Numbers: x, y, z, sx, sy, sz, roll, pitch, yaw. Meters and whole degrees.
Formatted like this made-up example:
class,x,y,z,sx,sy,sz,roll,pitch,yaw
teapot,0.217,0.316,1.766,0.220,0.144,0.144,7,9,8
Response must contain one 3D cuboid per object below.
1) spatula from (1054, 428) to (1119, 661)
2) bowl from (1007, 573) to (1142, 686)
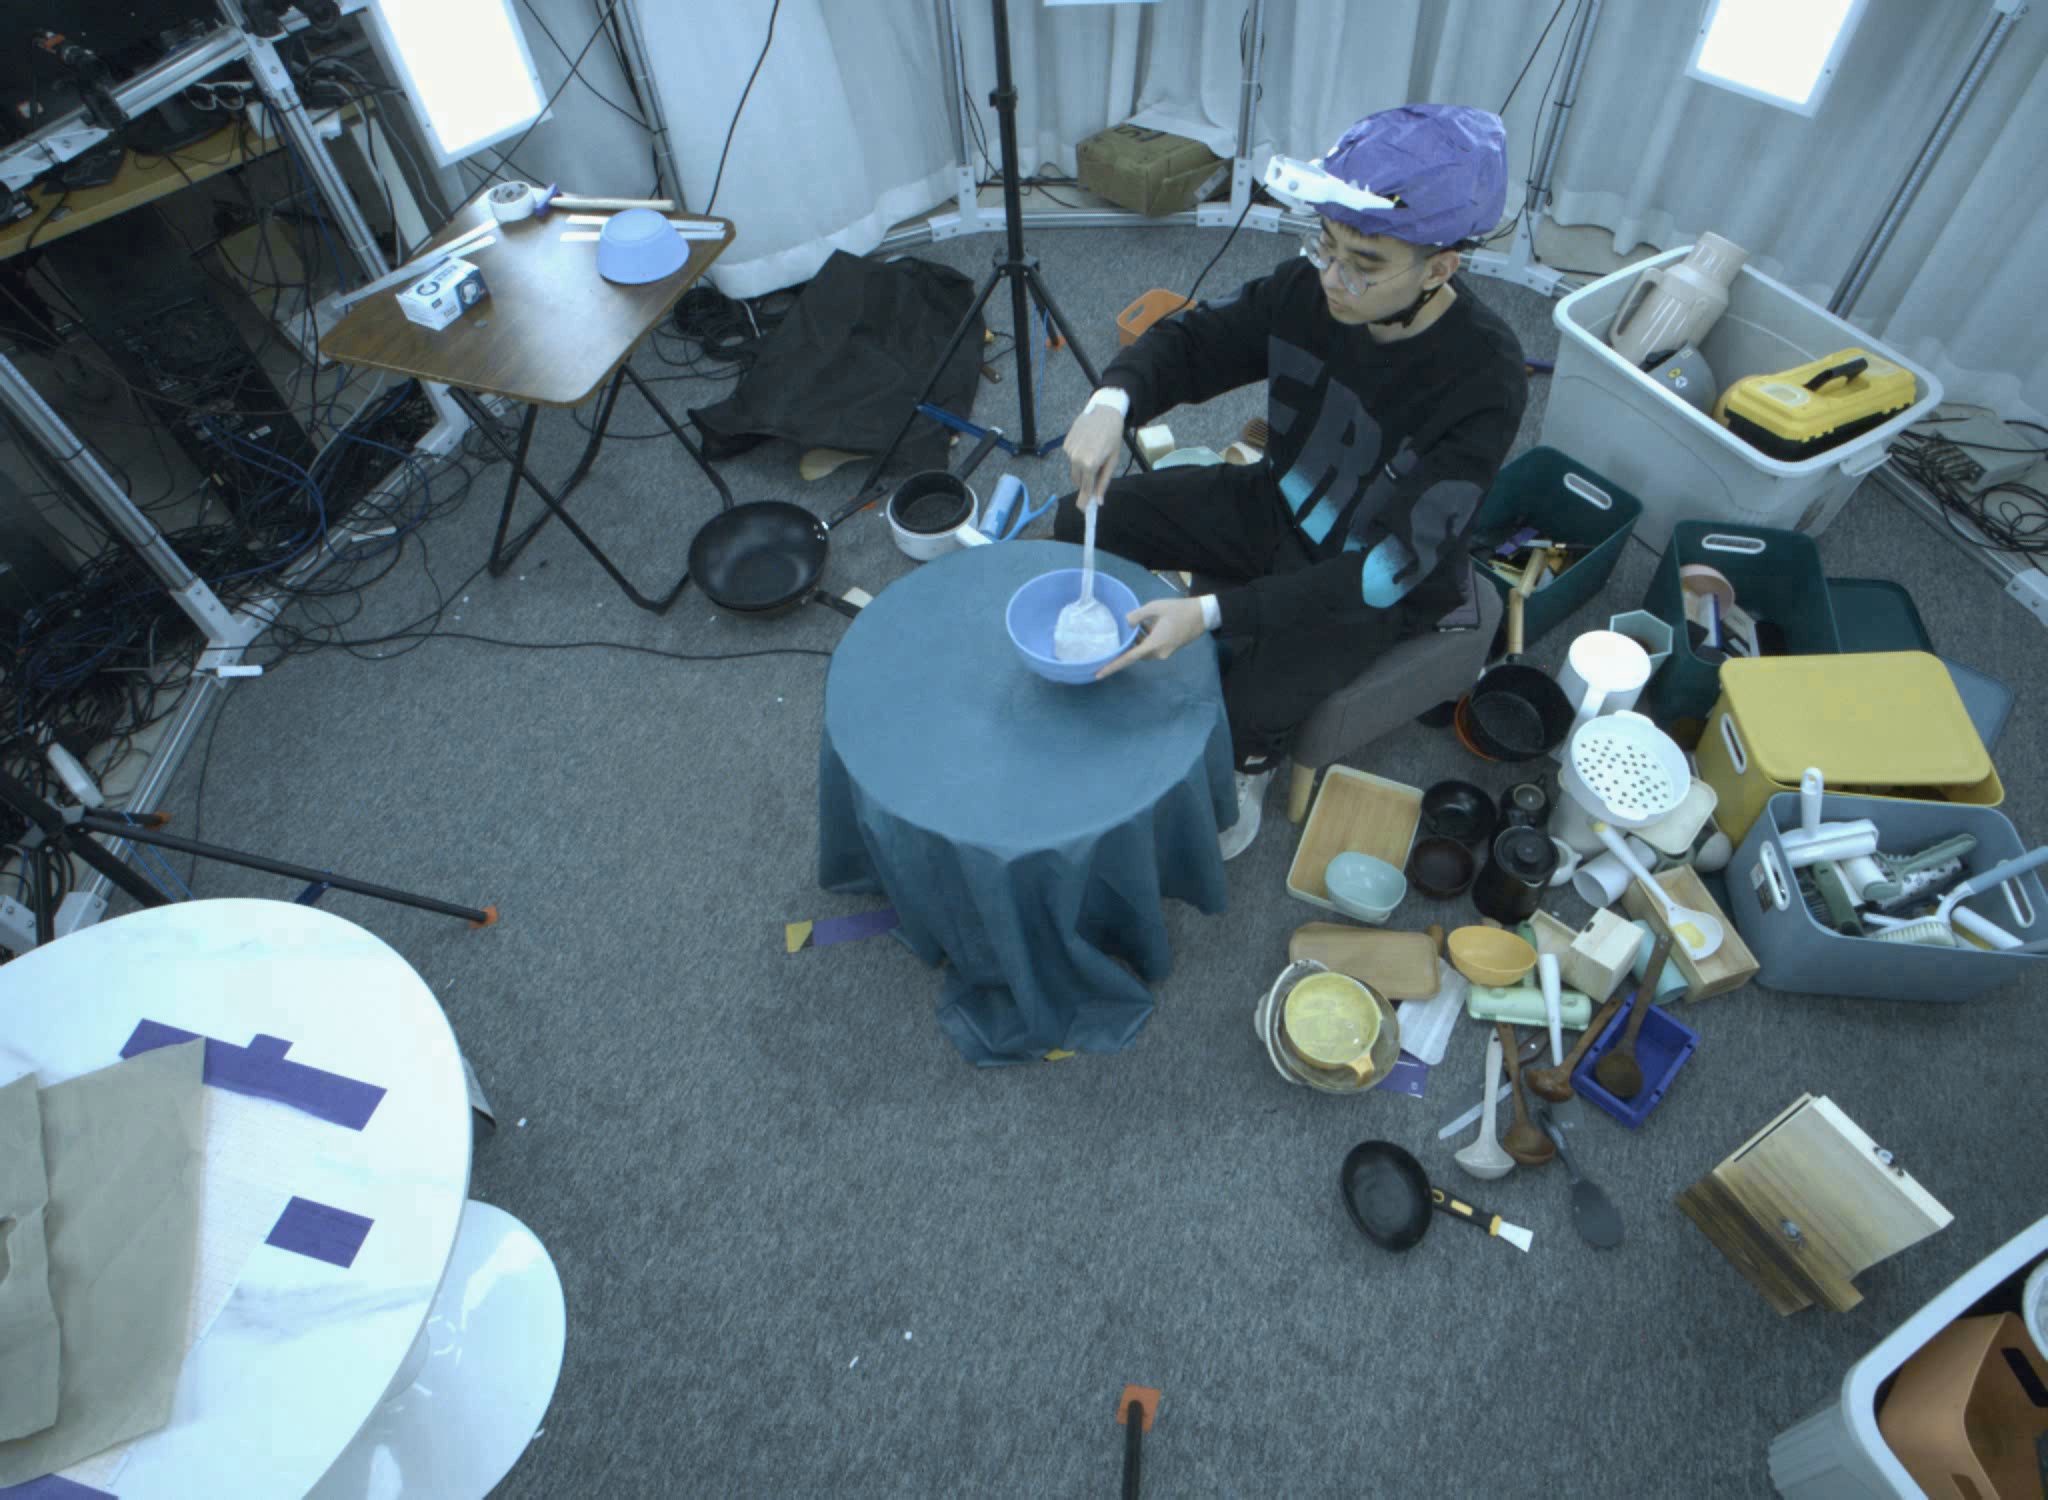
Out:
class,x,y,z,sx,sy,sz,roll,pitch,yaw
spatula,0.101,-0.297,1.805,0.099,0.044,0.366,2,99,-7
bowl,0.075,-0.164,1.821,0.196,0.096,0.194,0,50,2
